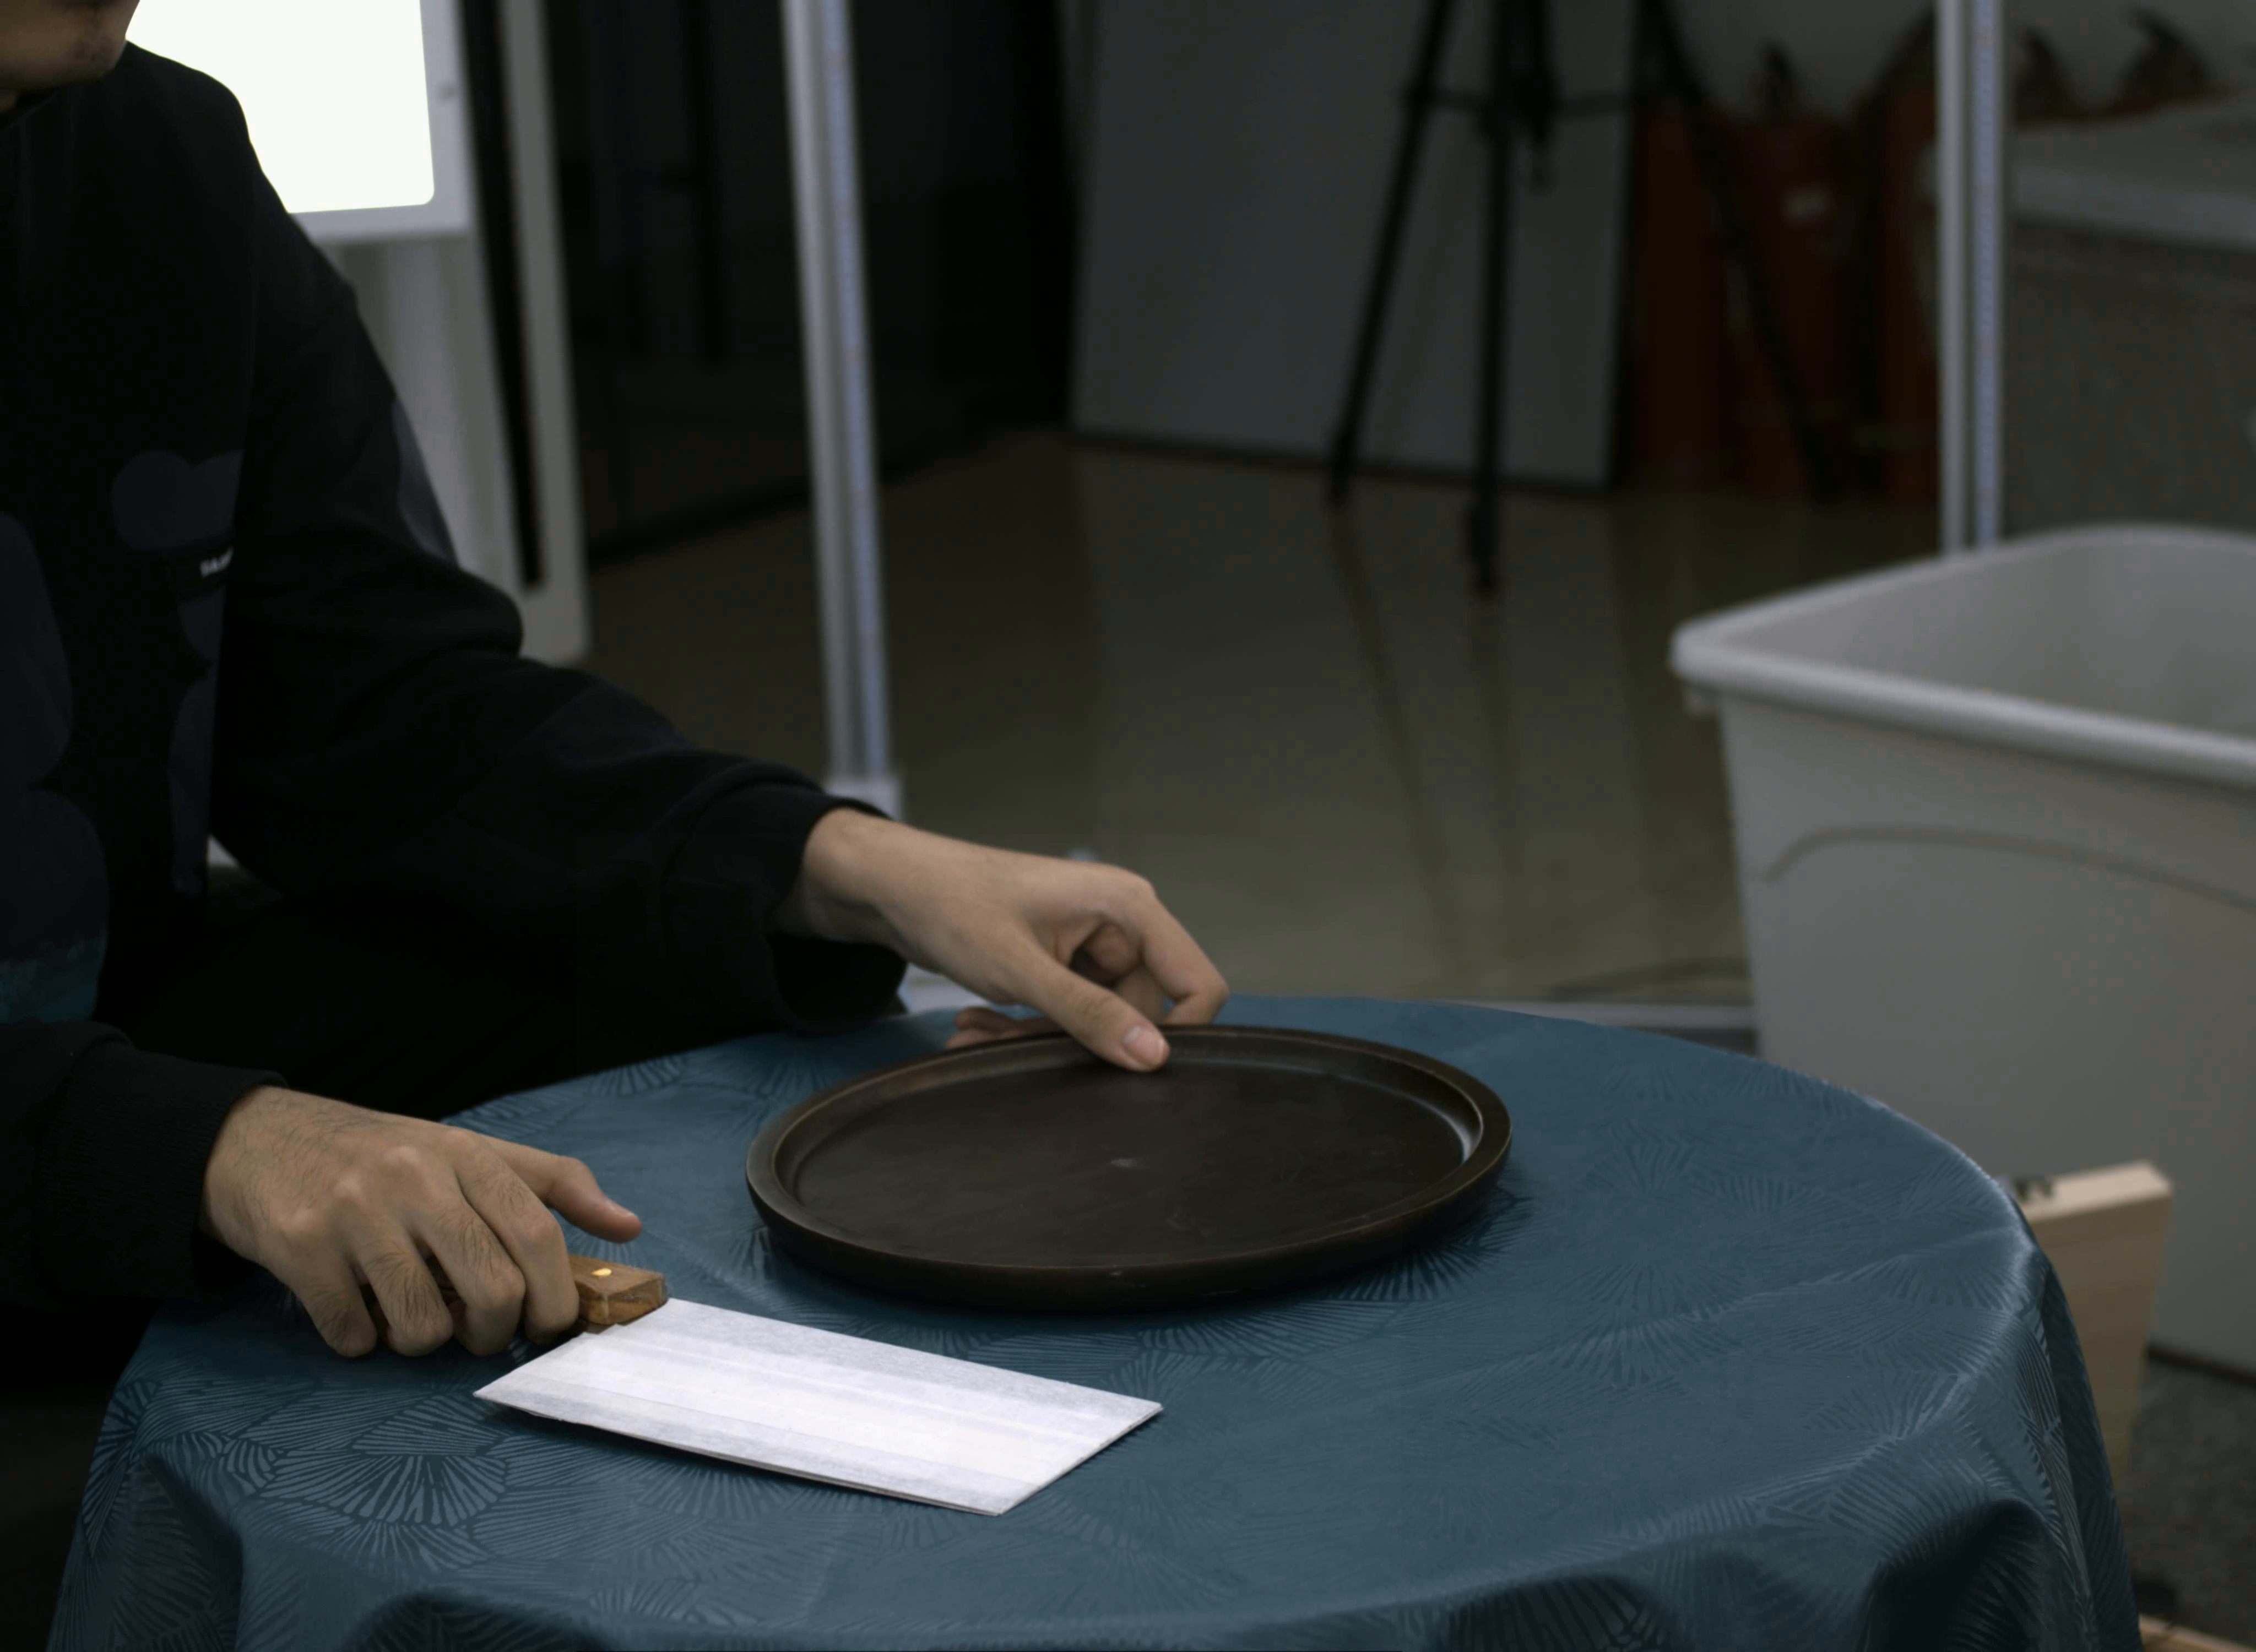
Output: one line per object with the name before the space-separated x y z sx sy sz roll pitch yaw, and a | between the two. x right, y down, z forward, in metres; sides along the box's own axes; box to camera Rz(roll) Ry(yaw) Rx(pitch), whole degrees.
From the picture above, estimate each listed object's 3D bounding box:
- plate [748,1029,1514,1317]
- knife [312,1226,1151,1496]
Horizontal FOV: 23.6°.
plate | 0.001 0.111 1.758 0.251 0.029 0.255 -3 13 0
knife | -0.138 0.162 1.615 0.307 0.021 0.091 8 20 33
